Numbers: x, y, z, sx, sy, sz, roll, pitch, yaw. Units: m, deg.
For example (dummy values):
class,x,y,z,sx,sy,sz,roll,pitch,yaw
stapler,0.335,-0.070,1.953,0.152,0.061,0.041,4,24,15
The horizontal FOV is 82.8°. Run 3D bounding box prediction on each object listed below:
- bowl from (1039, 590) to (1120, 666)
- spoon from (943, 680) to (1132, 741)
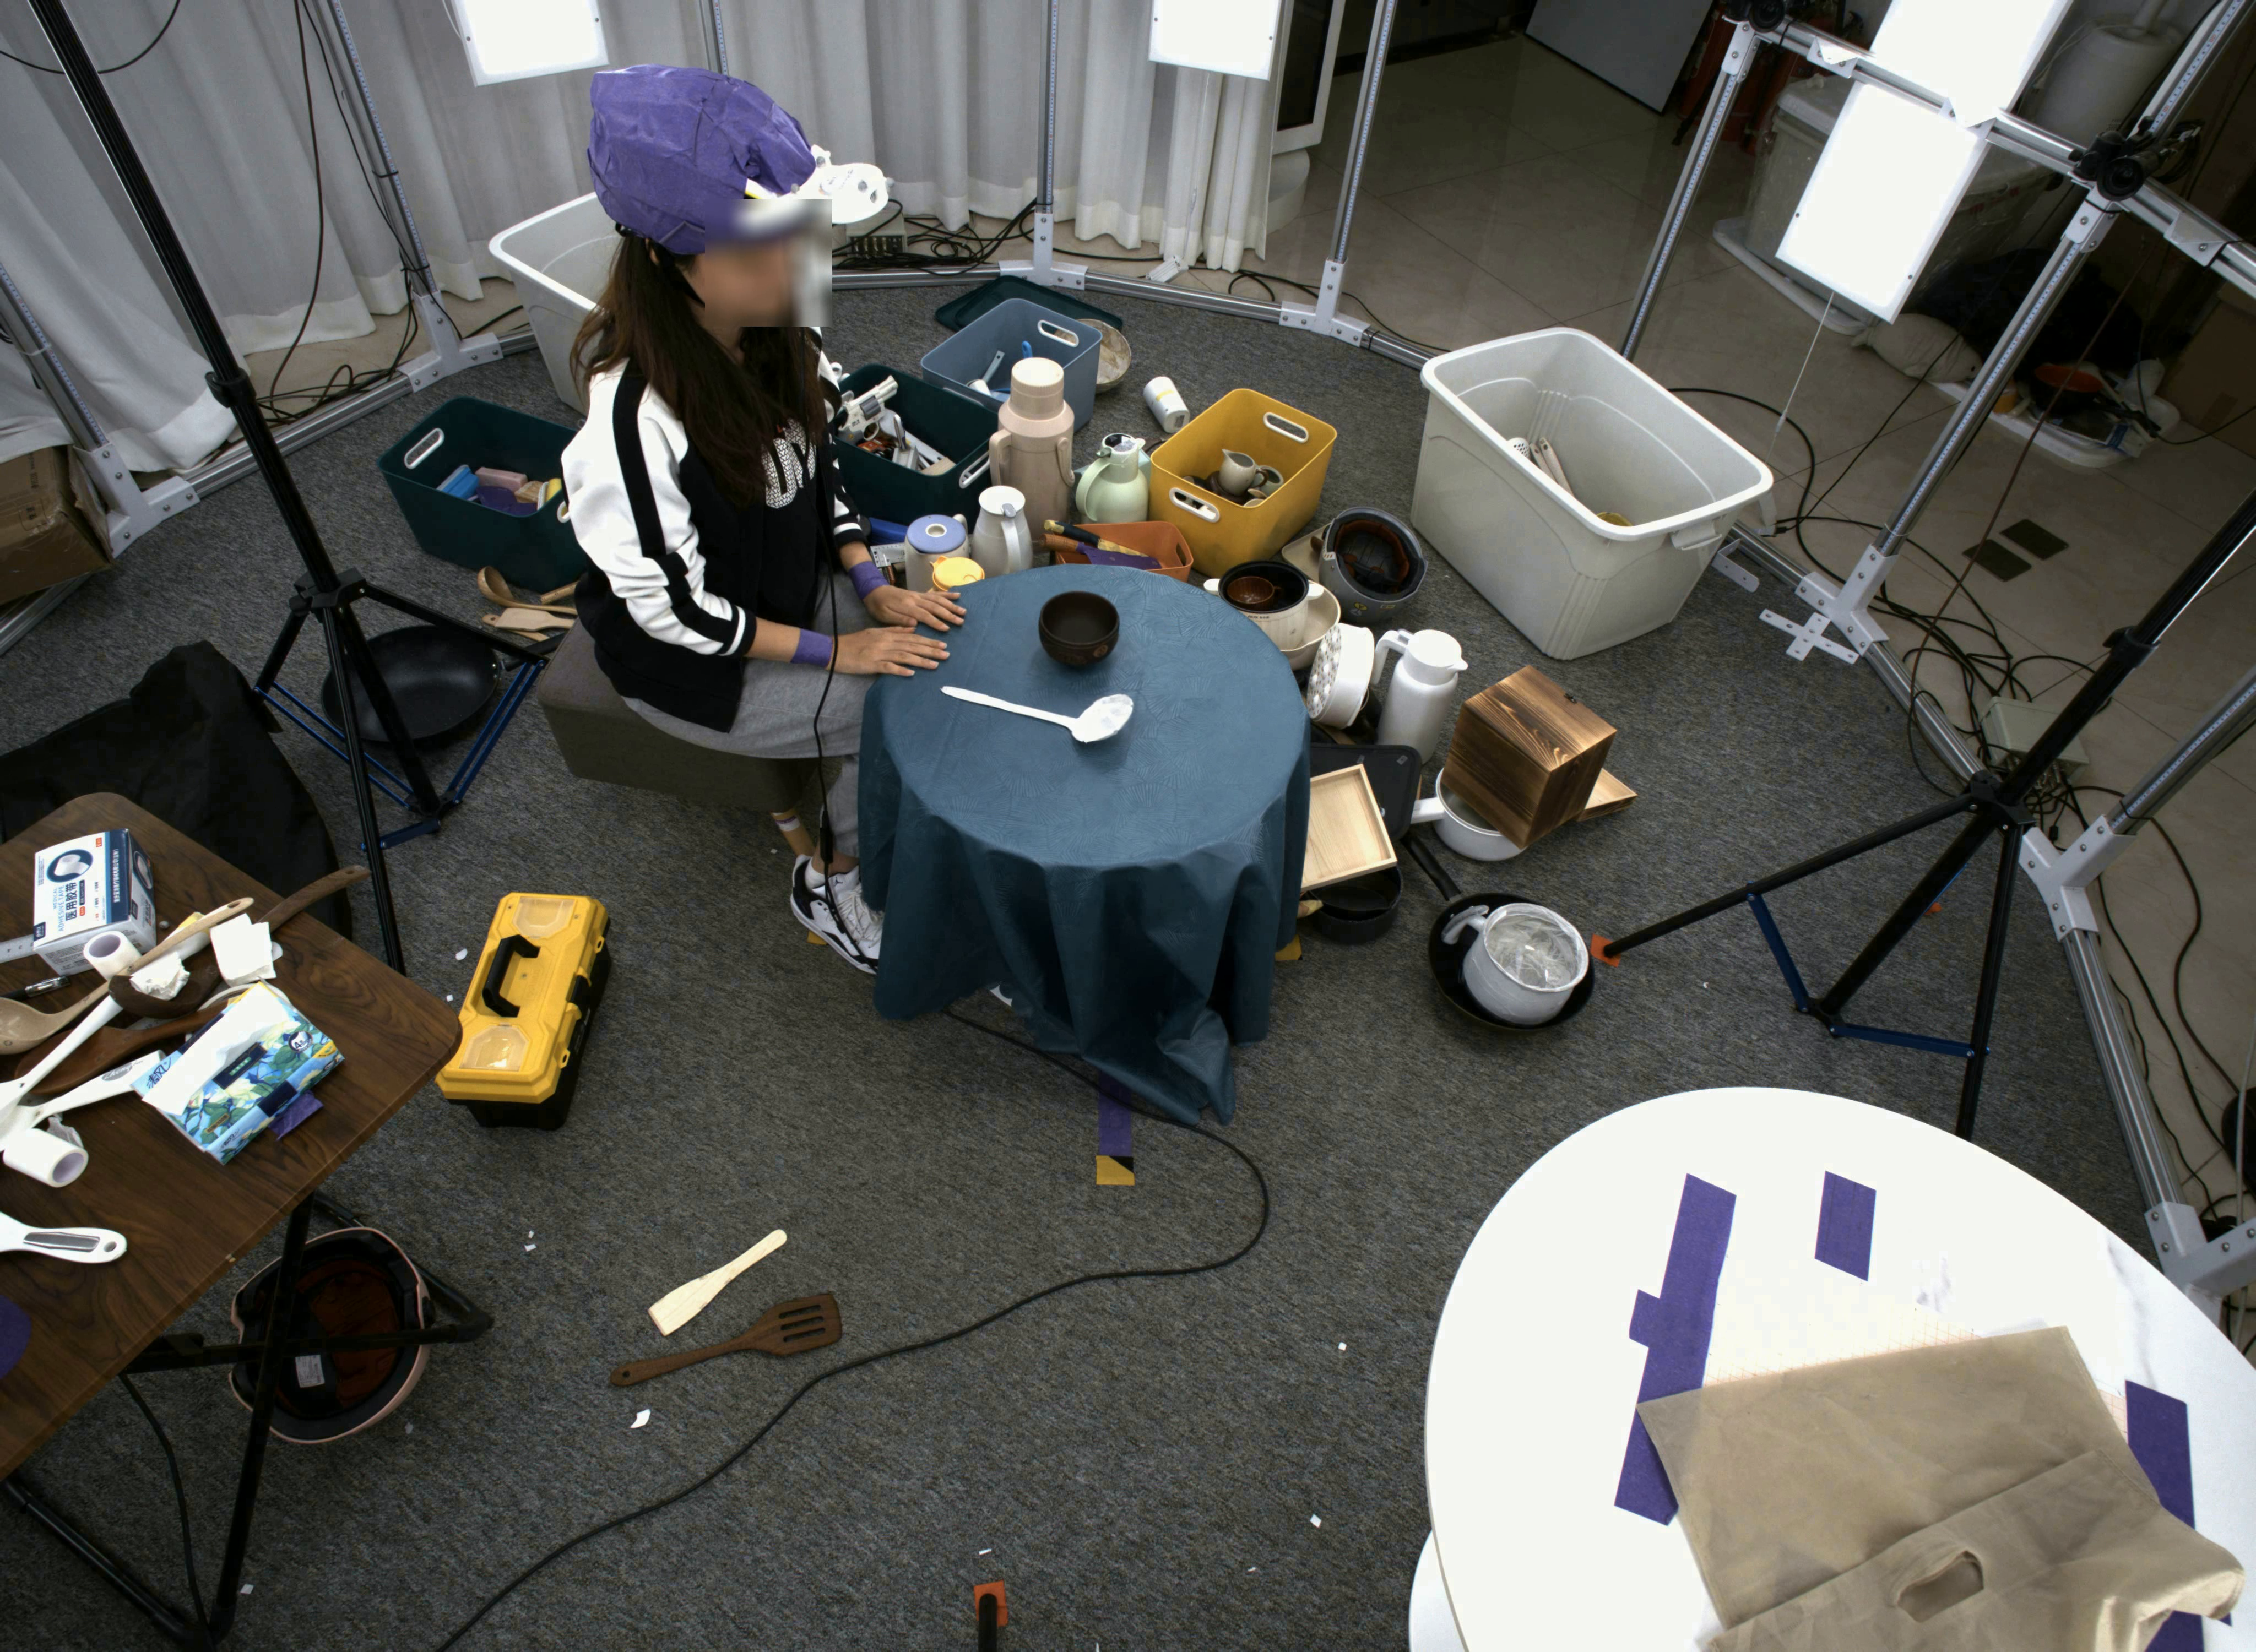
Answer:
class,x,y,z,sx,sy,sz,roll,pitch,yaw
bowl,-0.071,-0.277,1.858,0.118,0.068,0.121,2,49,-3
spoon,-0.128,-0.180,1.781,0.278,0.058,0.102,18,47,11
